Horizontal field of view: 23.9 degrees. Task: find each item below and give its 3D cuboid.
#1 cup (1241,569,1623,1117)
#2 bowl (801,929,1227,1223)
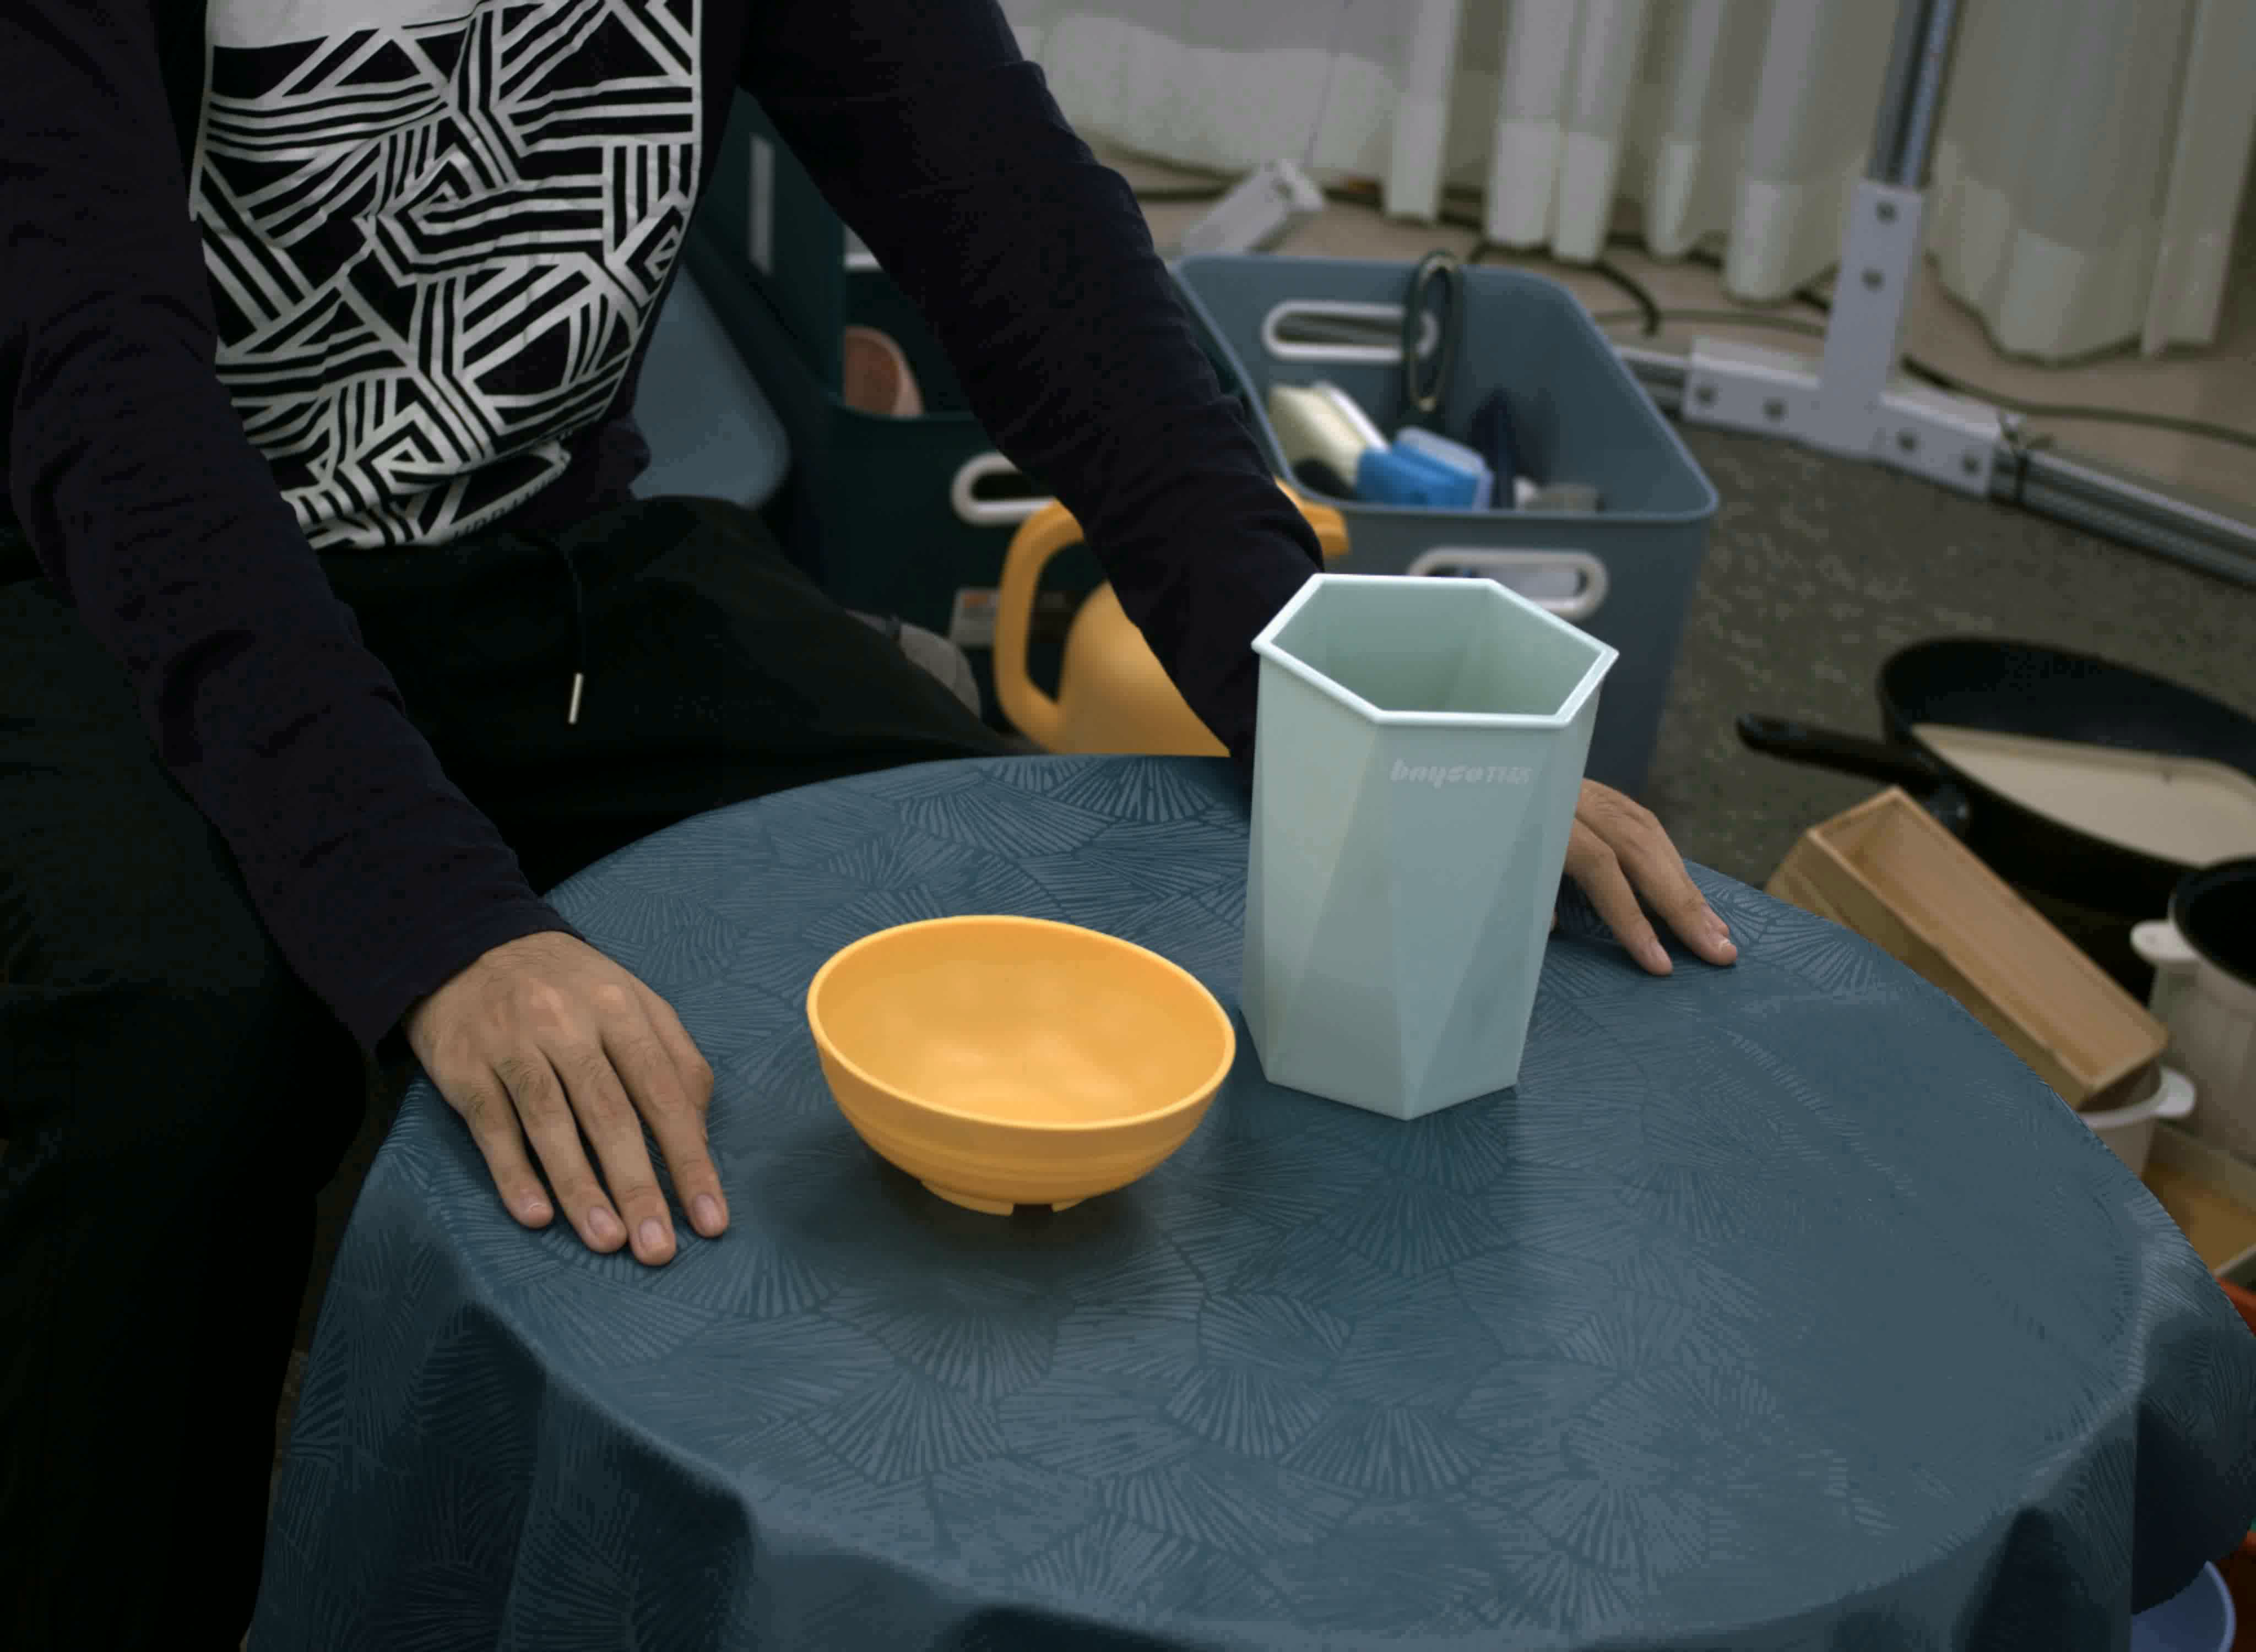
[{"bbox_3d":[0.100,0.007,1.877,0.130,0.162,0.116,1,26,-12],"label":"cup"},{"bbox_3d":[-0.041,0.093,1.800,0.145,0.060,0.146,5,24,-3],"label":"bowl"}]
